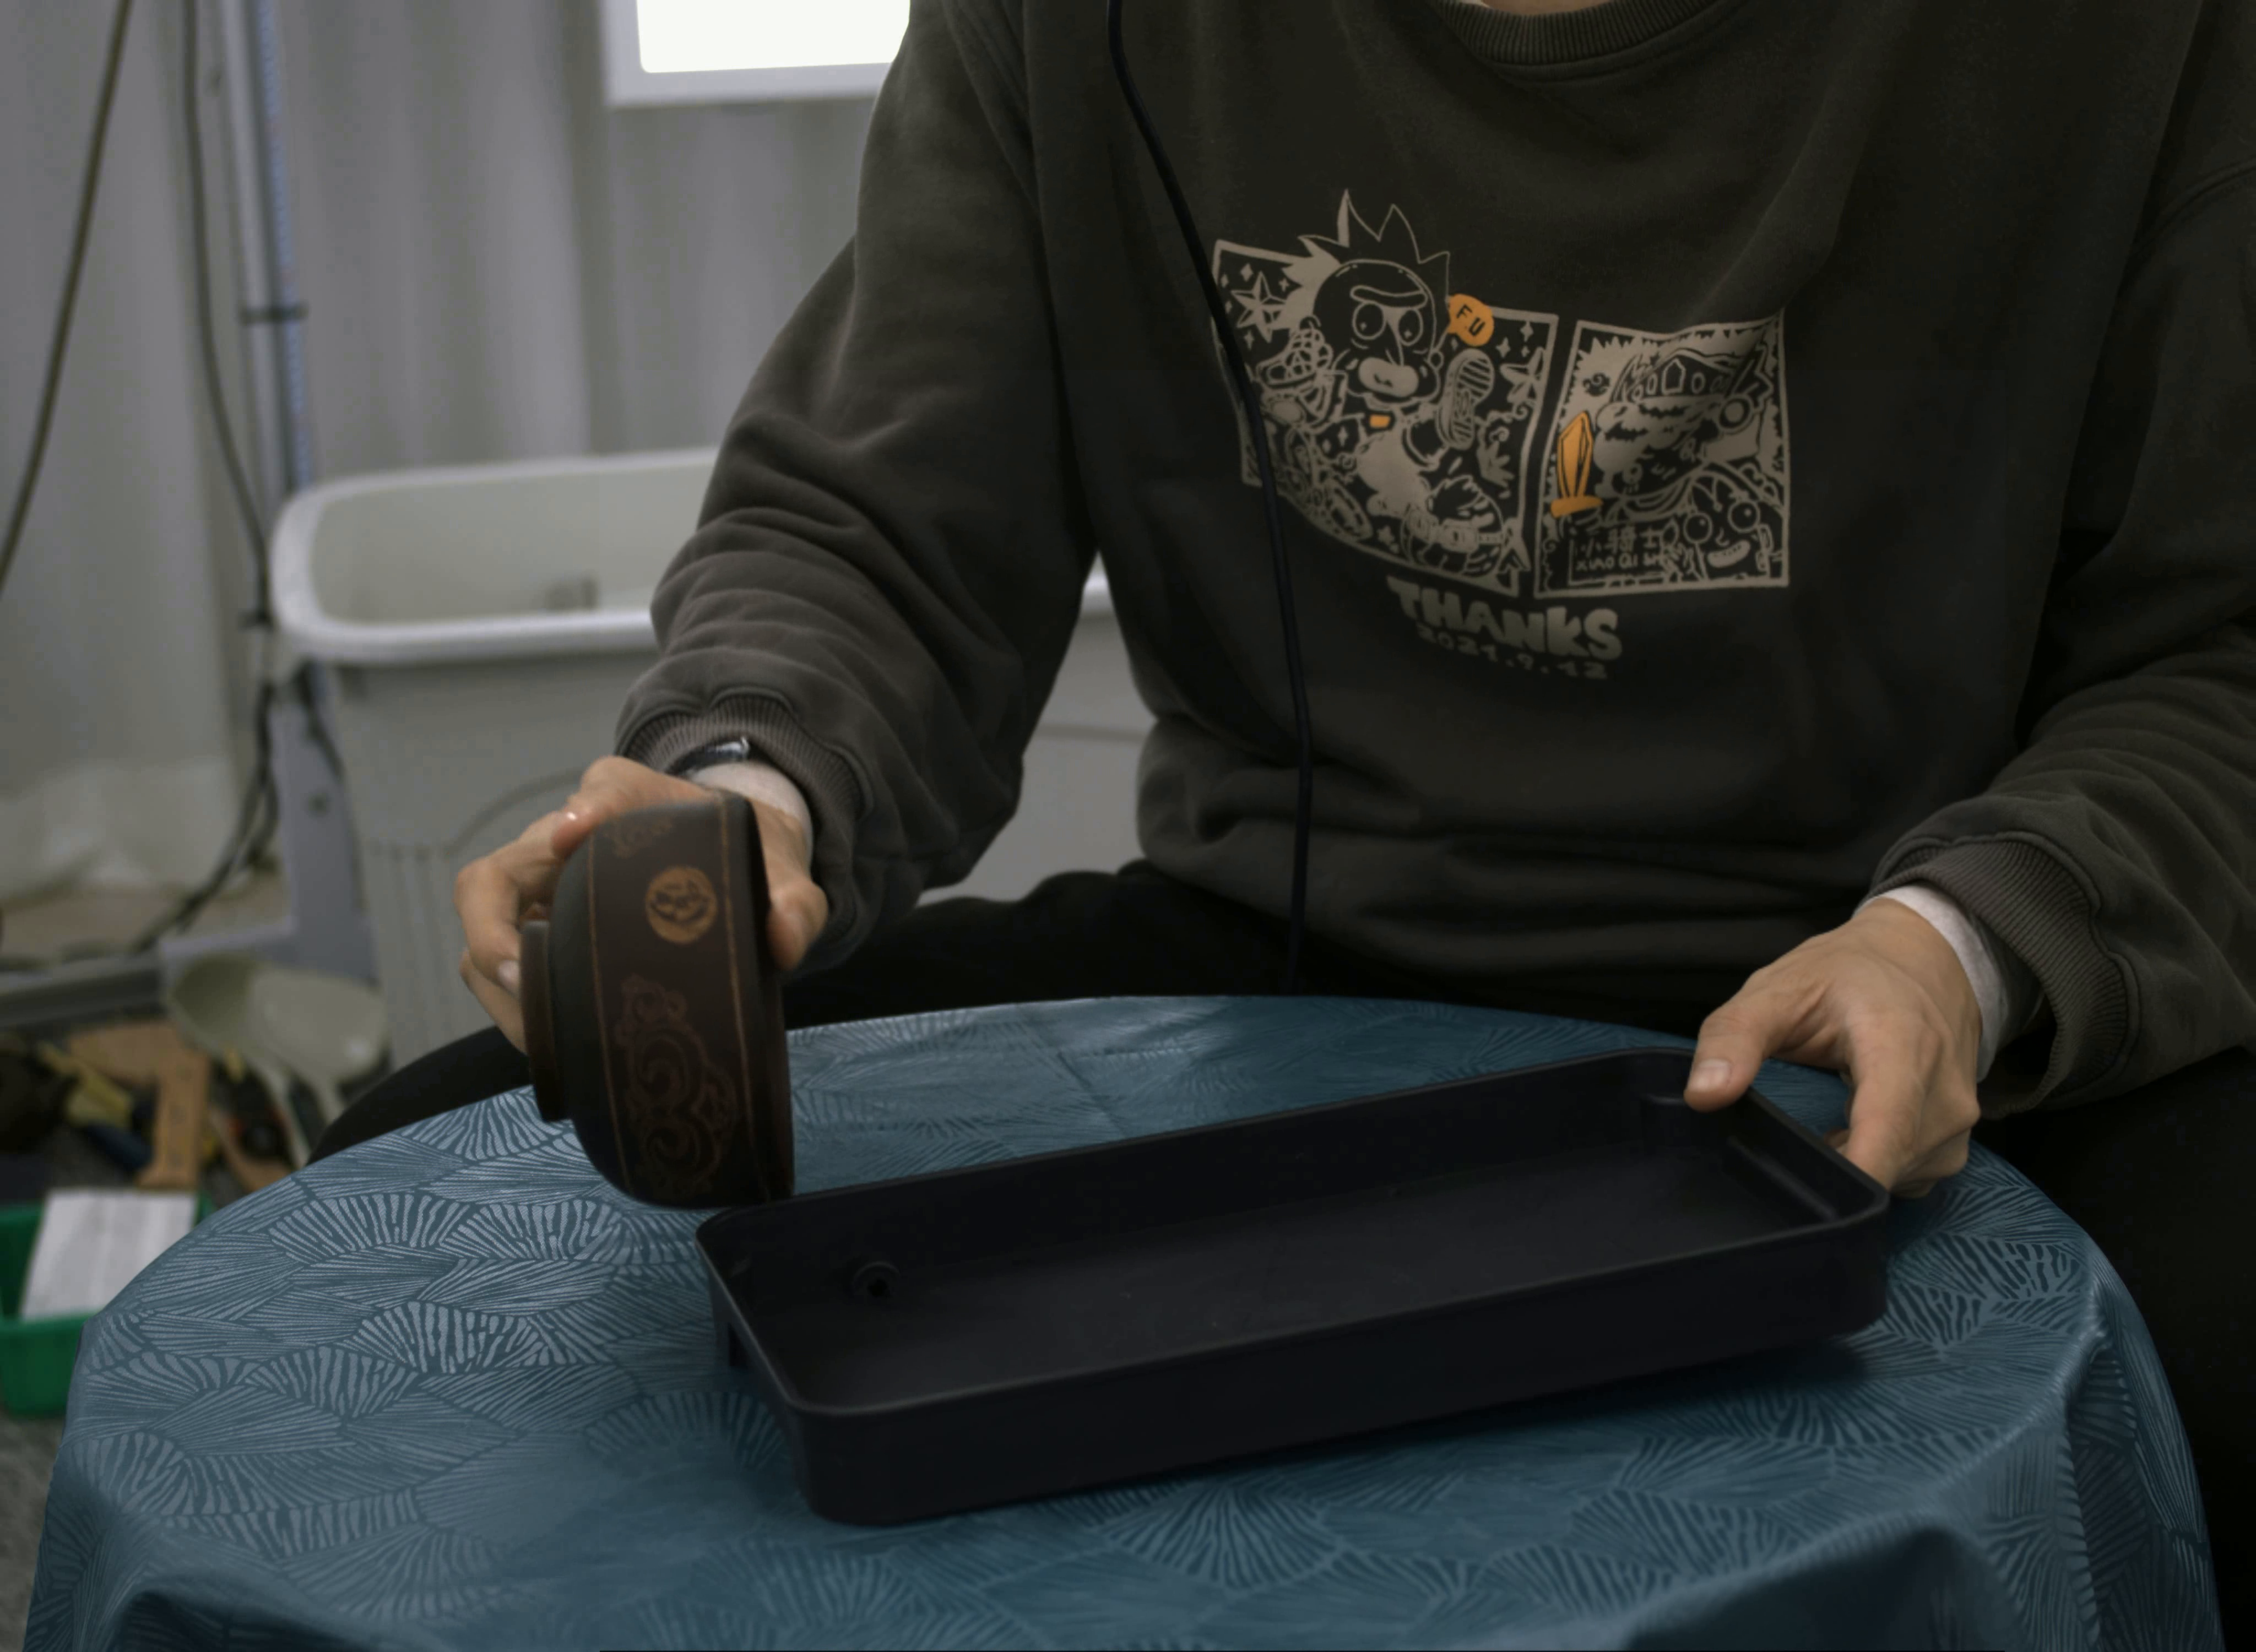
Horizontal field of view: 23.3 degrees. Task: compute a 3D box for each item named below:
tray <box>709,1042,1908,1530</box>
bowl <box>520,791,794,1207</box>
[{"bbox_3d":[0.050,0.128,1.571,0.317,0.037,0.185,-10,15,-14],"label":"tray"},{"bbox_3d":[-0.136,0.051,1.564,0.069,0.117,0.119,-6,15,-2],"label":"bowl"}]
